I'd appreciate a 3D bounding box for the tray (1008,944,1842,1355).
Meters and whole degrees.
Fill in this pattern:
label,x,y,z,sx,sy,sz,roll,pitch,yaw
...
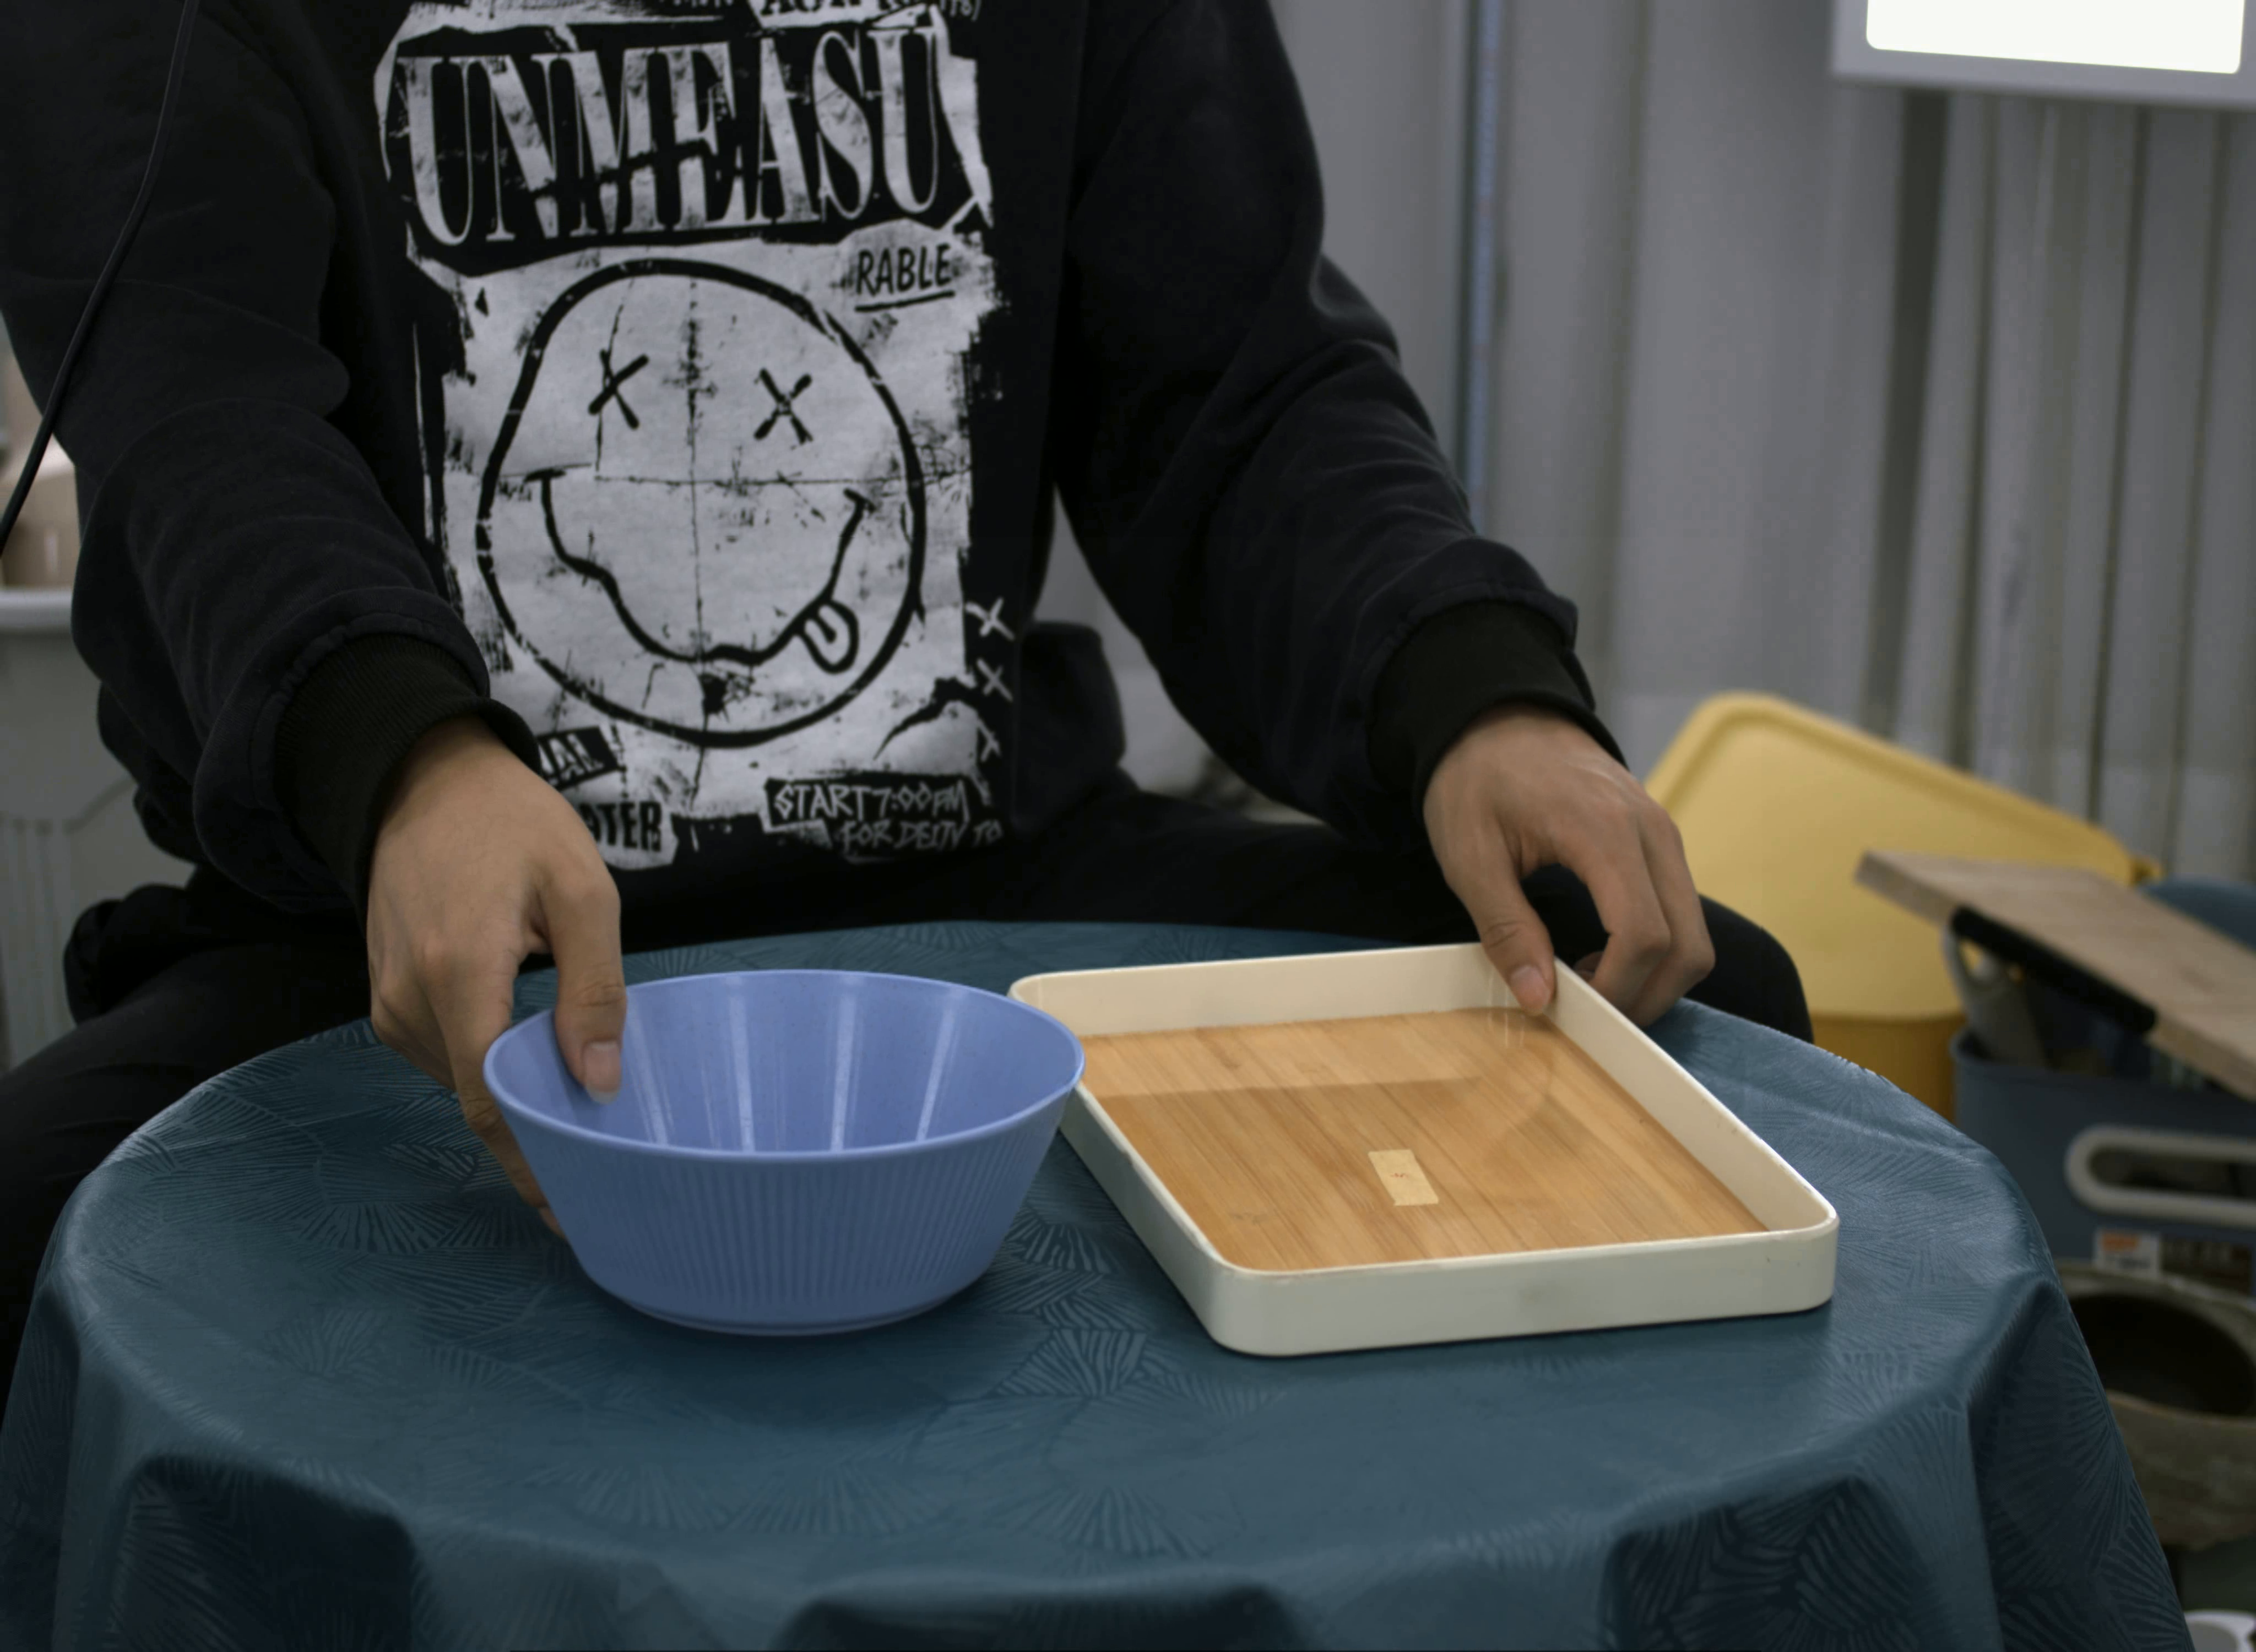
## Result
label,x,y,z,sx,sy,sz,roll,pitch,yaw
tray,0.084,0.096,1.641,0.192,0.027,0.297,-3,16,-14

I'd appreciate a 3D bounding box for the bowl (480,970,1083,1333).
label,x,y,z,sx,sy,sz,roll,pitch,yaw
bowl,-0.101,0.098,1.543,0.175,0.071,0.175,2,16,0
